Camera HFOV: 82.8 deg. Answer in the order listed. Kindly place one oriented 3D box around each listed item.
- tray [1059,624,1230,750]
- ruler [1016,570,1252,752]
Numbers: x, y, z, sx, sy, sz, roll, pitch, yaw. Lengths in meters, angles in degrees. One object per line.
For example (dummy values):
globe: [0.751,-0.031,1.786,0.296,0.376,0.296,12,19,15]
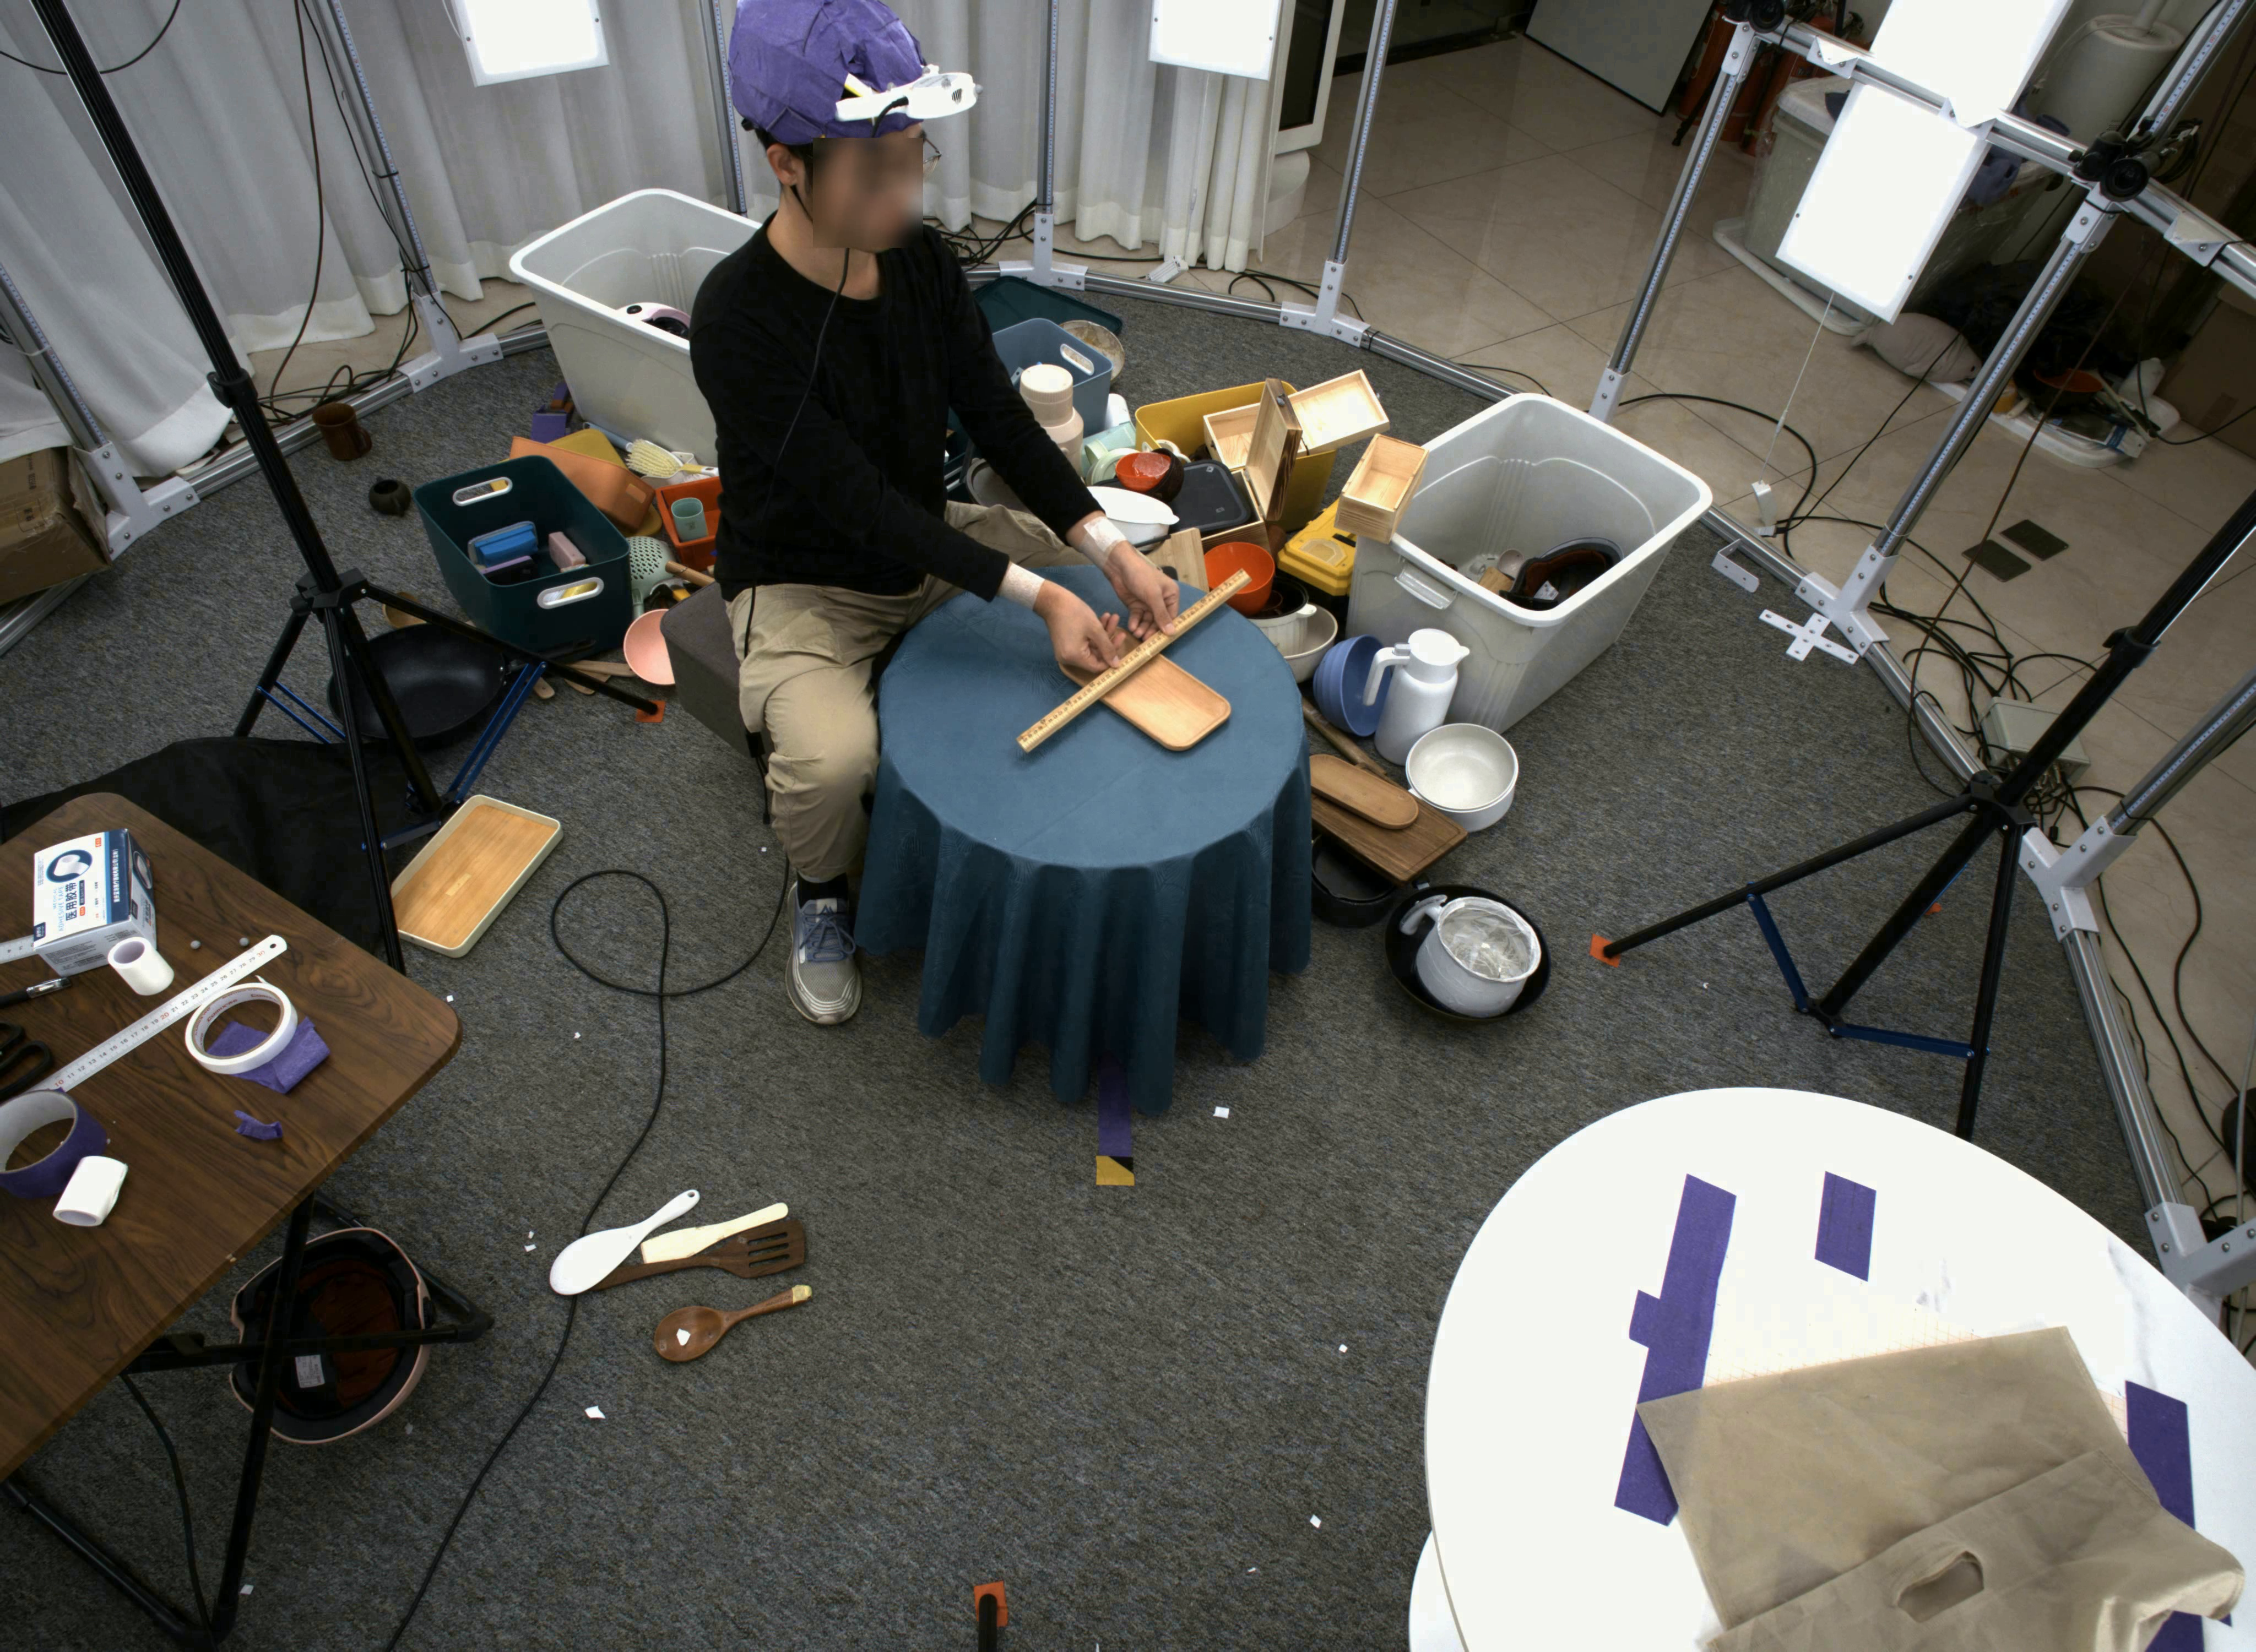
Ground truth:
tray: [0.022,-0.201,1.835,0.132,0.022,0.254,-34,58,-31]
ruler: [0.020,-0.249,1.856,0.027,0.006,0.506,49,58,1]
